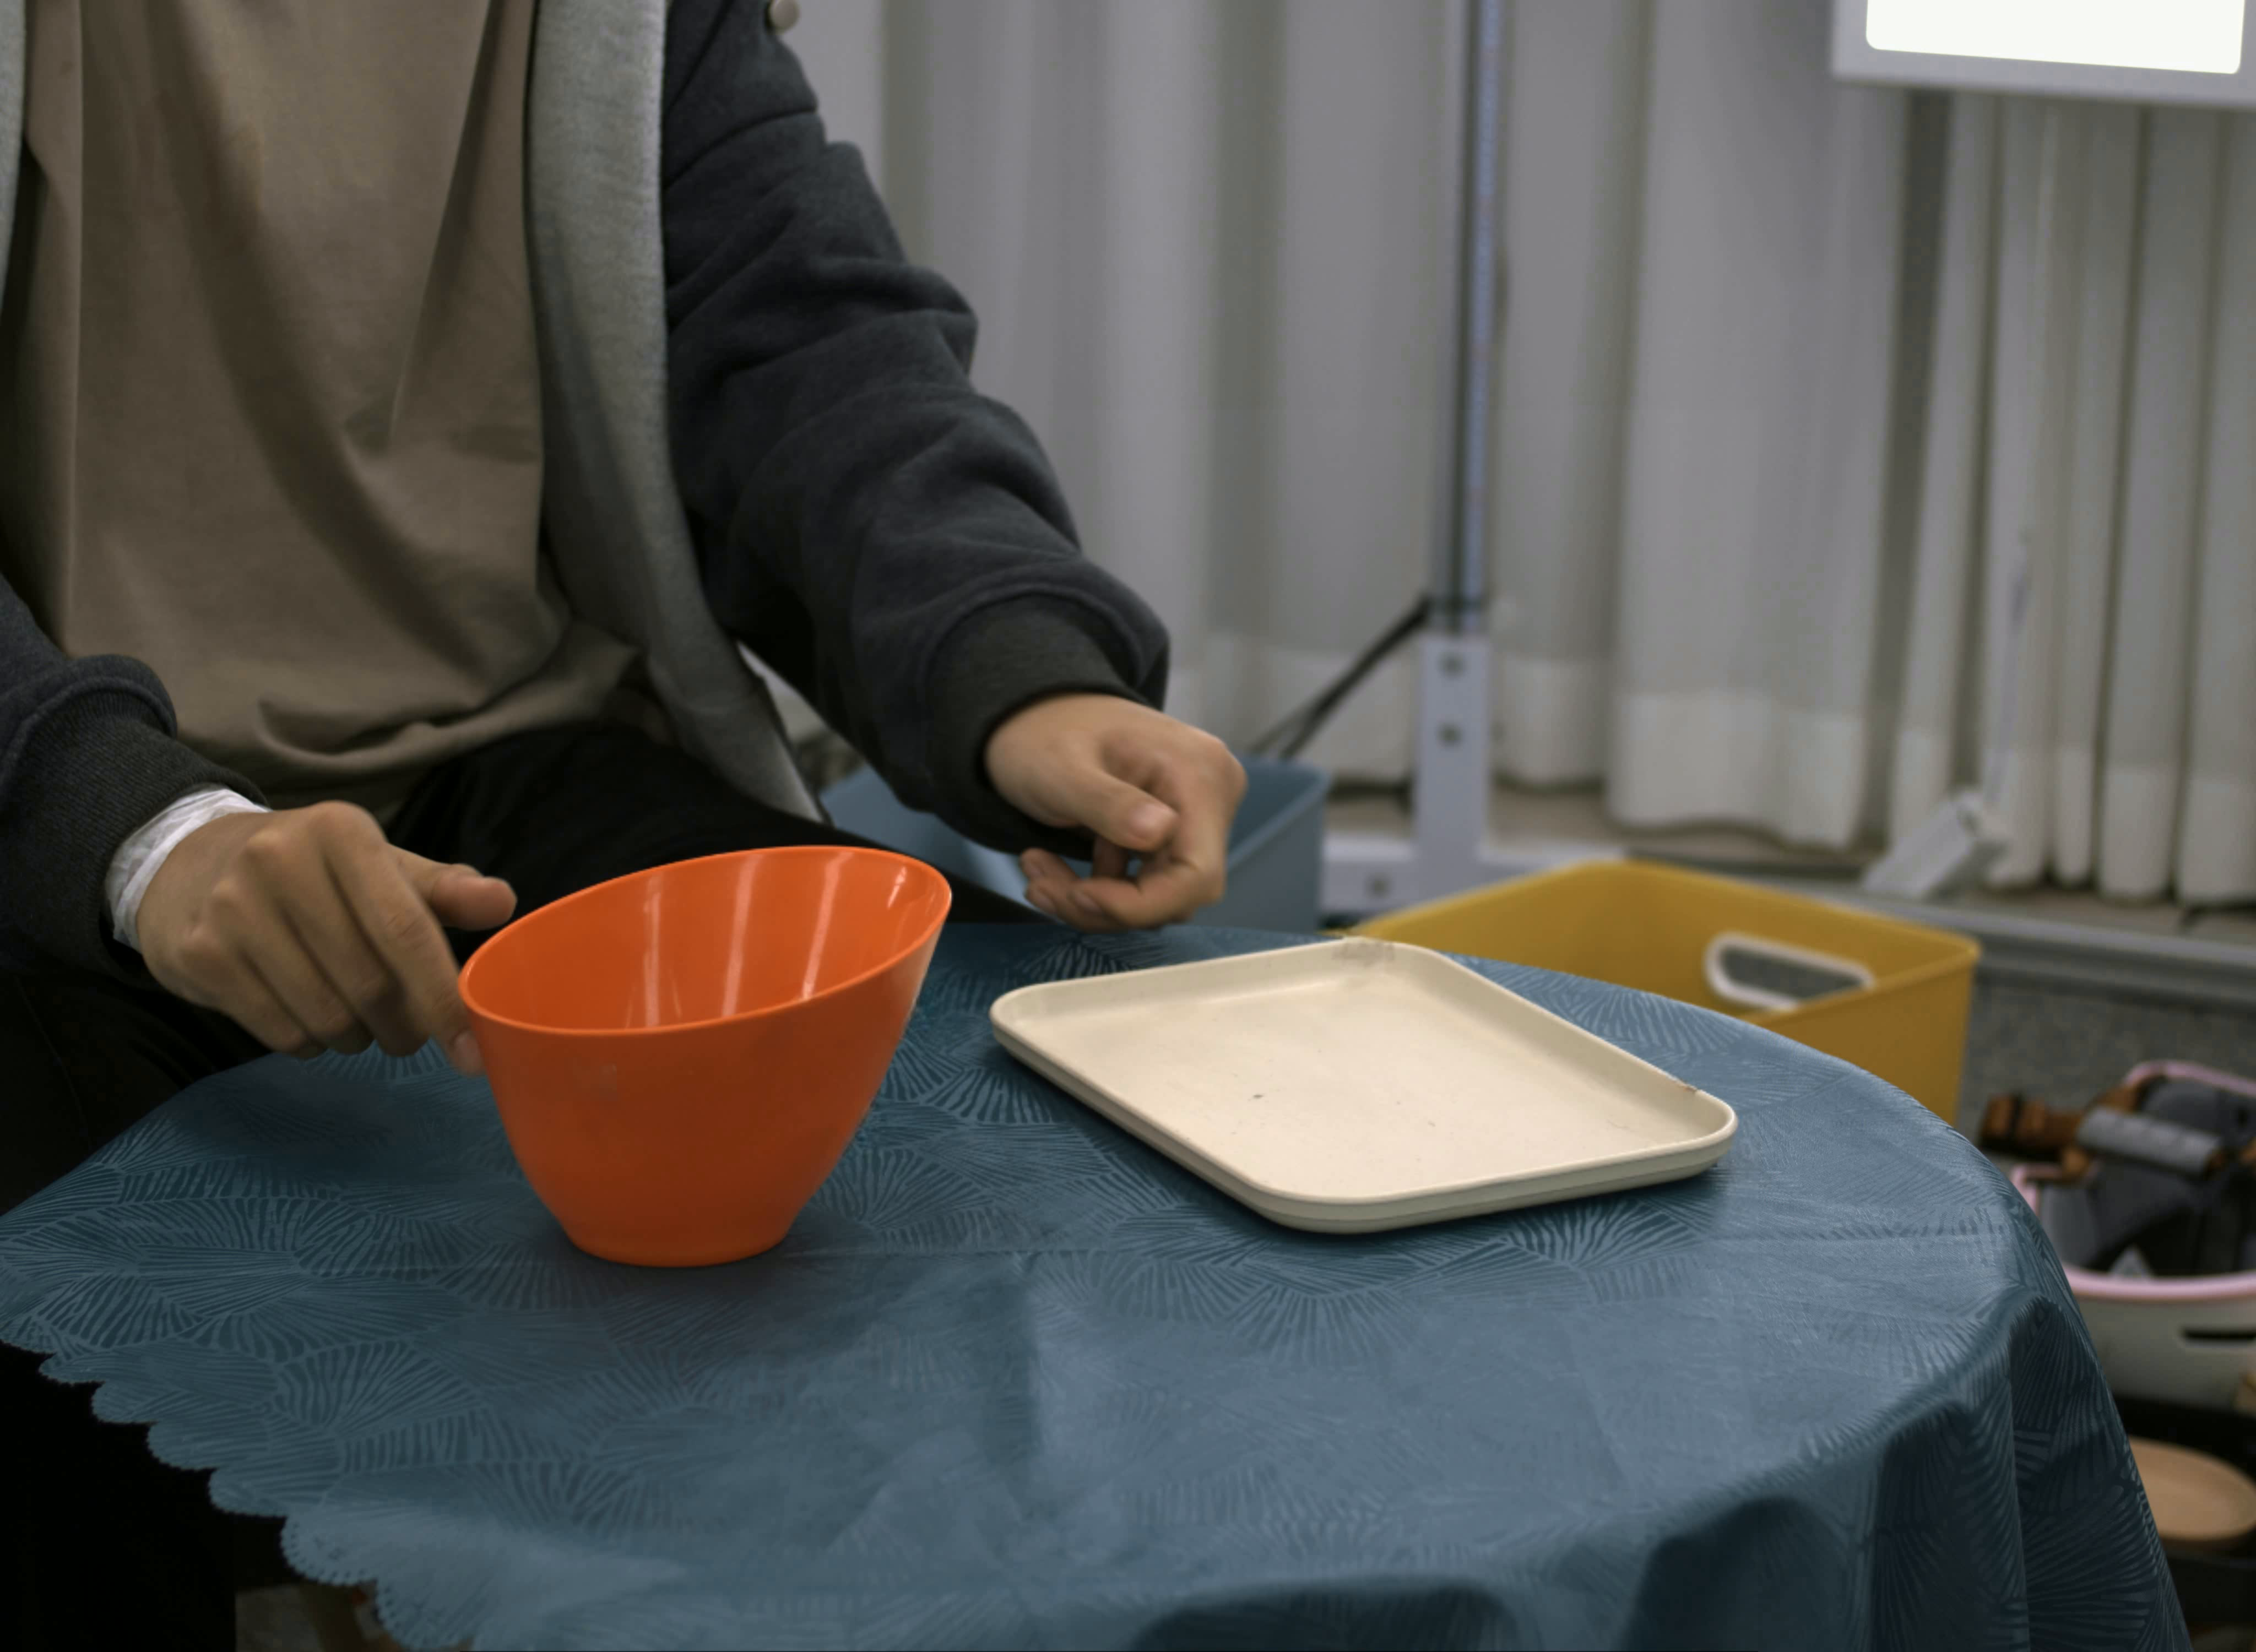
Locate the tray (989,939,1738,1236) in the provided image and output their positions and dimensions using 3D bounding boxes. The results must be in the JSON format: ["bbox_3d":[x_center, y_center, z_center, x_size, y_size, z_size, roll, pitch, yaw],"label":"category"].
[{"bbox_3d":[0.072,0.083,1.698,0.172,0.017,0.236,-8,18,-26],"label":"tray"}]

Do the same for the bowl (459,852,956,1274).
[{"bbox_3d":[-0.125,0.073,1.572,0.147,0.105,0.147,1,16,0],"label":"bowl"}]
